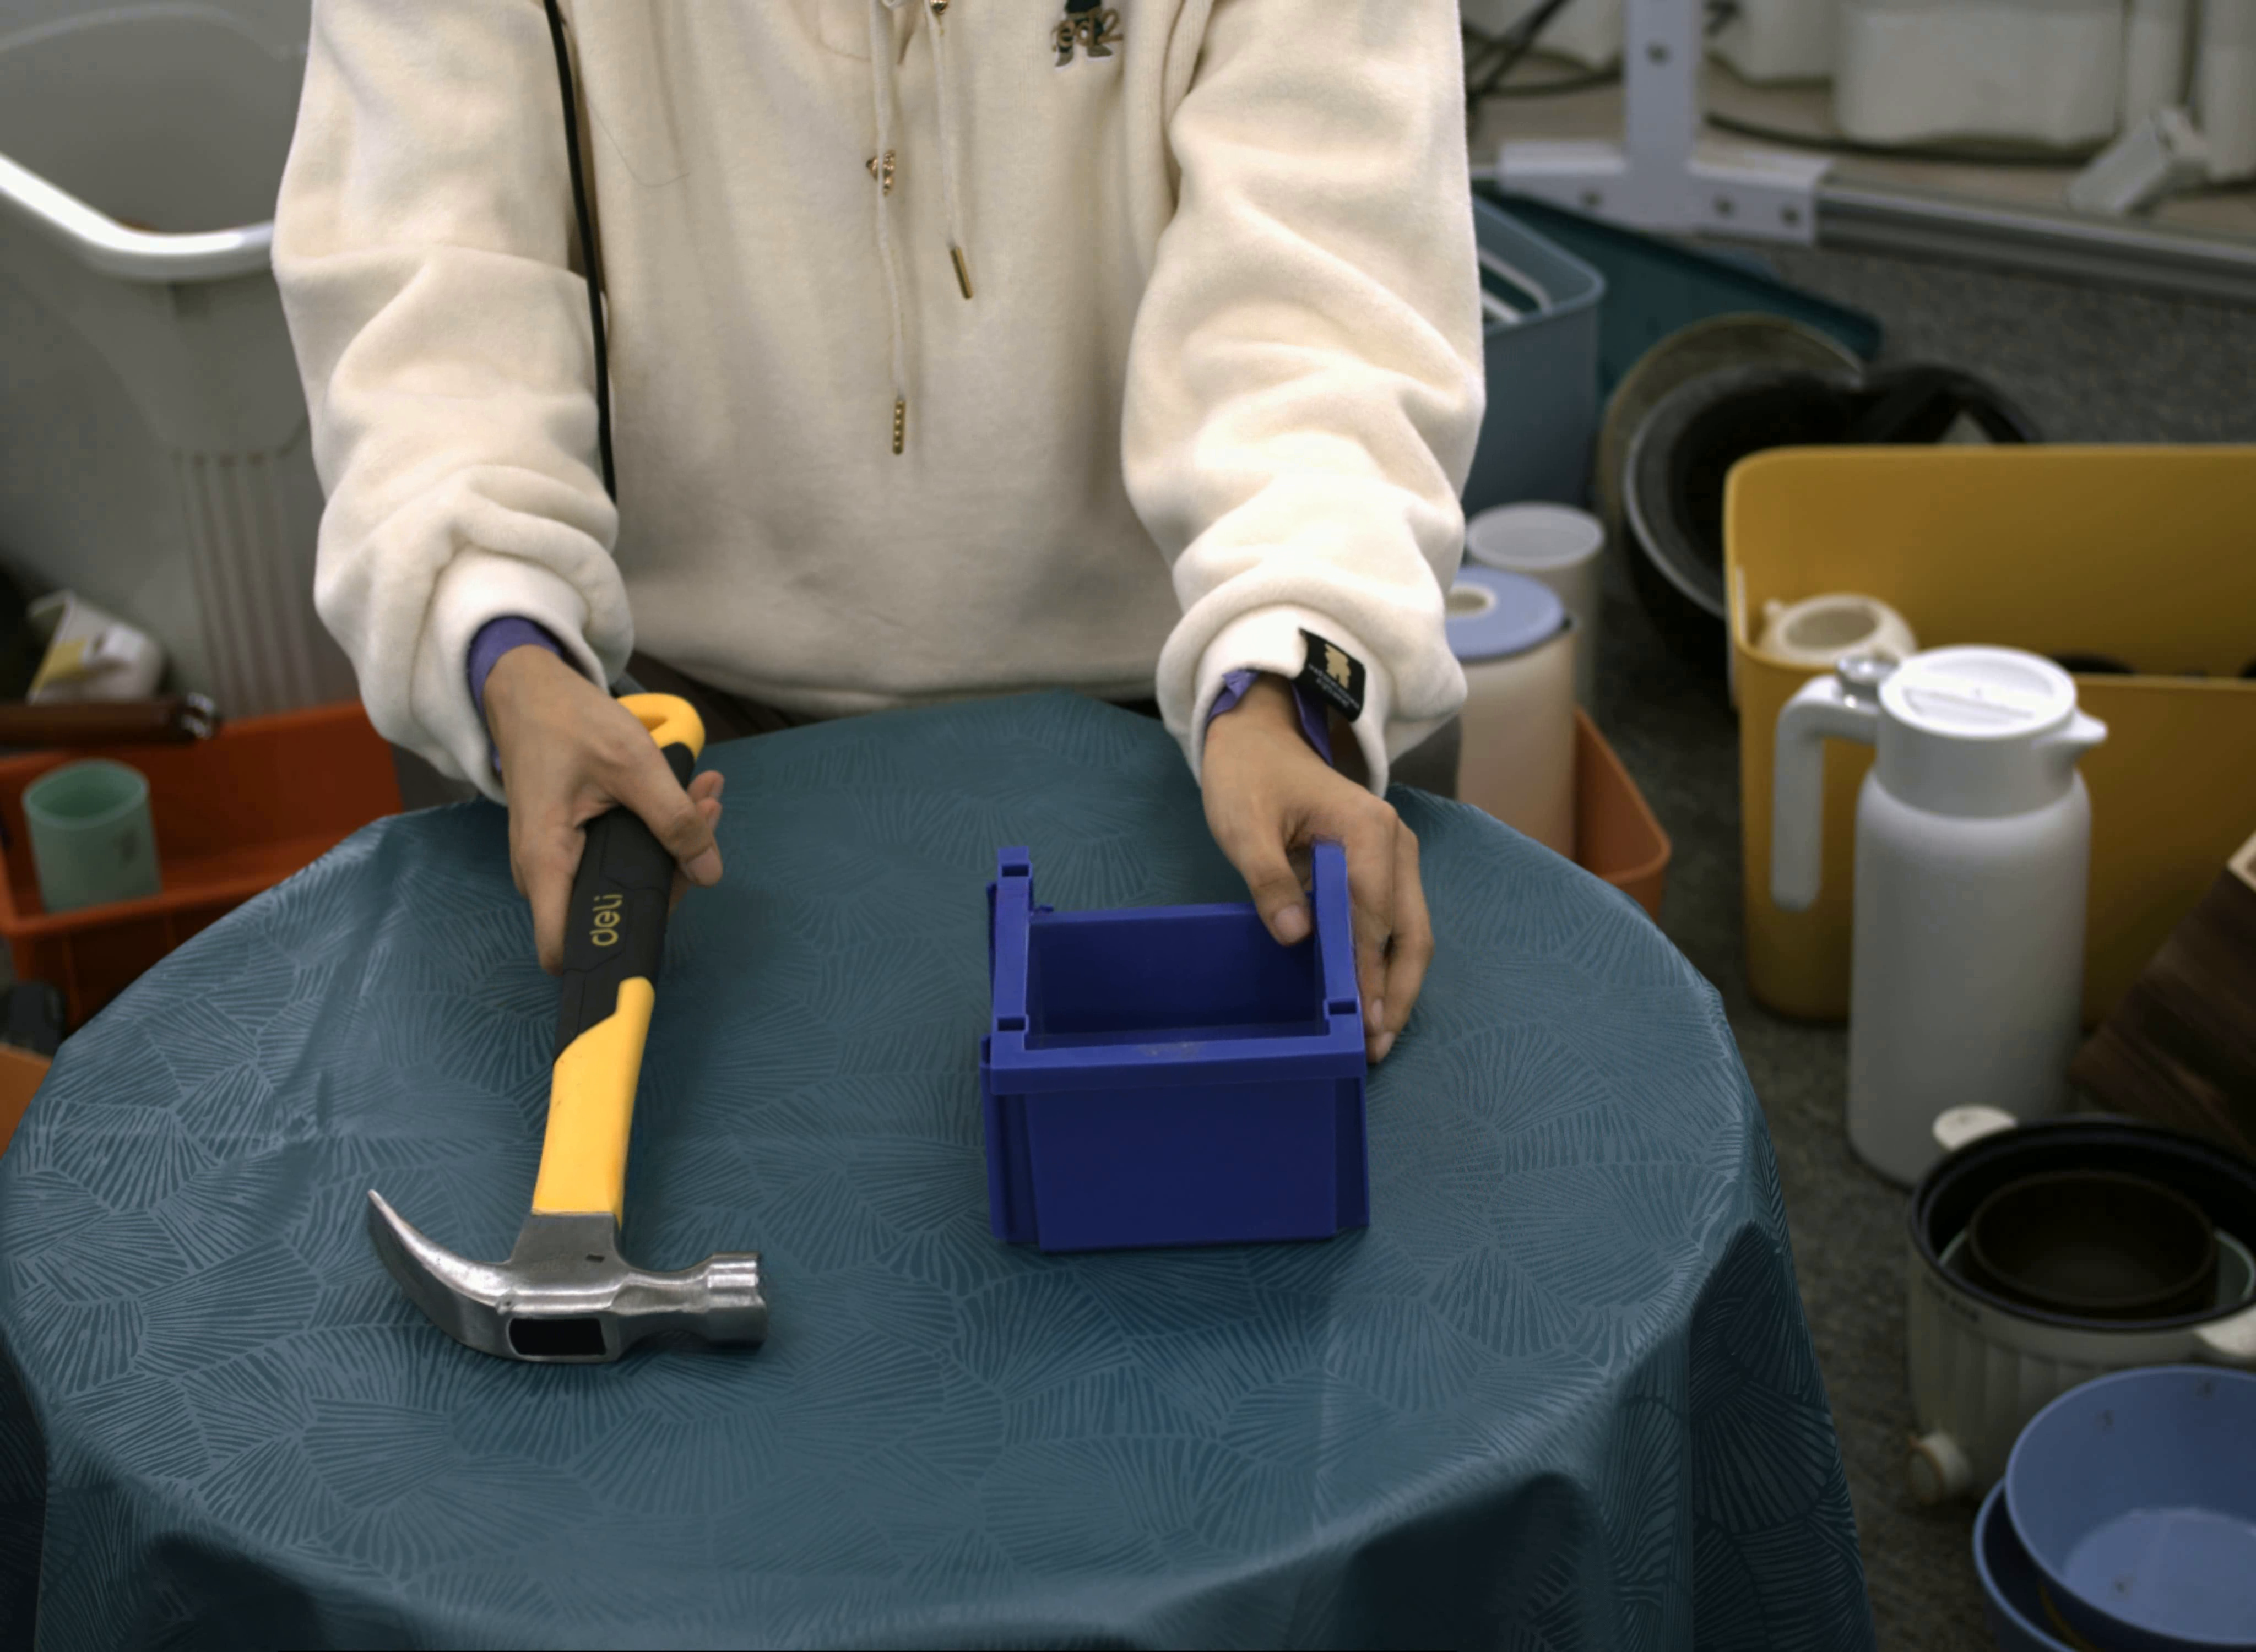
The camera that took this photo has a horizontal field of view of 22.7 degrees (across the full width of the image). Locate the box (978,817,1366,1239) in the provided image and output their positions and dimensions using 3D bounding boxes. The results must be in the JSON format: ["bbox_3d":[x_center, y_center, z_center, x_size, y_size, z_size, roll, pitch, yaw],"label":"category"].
[{"bbox_3d":[0.015,0.062,1.887,0.124,0.081,0.182,-2,29,2],"label":"box"}]

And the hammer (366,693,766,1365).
[{"bbox_3d":[-0.177,0.061,1.912,0.130,0.032,0.345,-3,36,4],"label":"hammer"}]
